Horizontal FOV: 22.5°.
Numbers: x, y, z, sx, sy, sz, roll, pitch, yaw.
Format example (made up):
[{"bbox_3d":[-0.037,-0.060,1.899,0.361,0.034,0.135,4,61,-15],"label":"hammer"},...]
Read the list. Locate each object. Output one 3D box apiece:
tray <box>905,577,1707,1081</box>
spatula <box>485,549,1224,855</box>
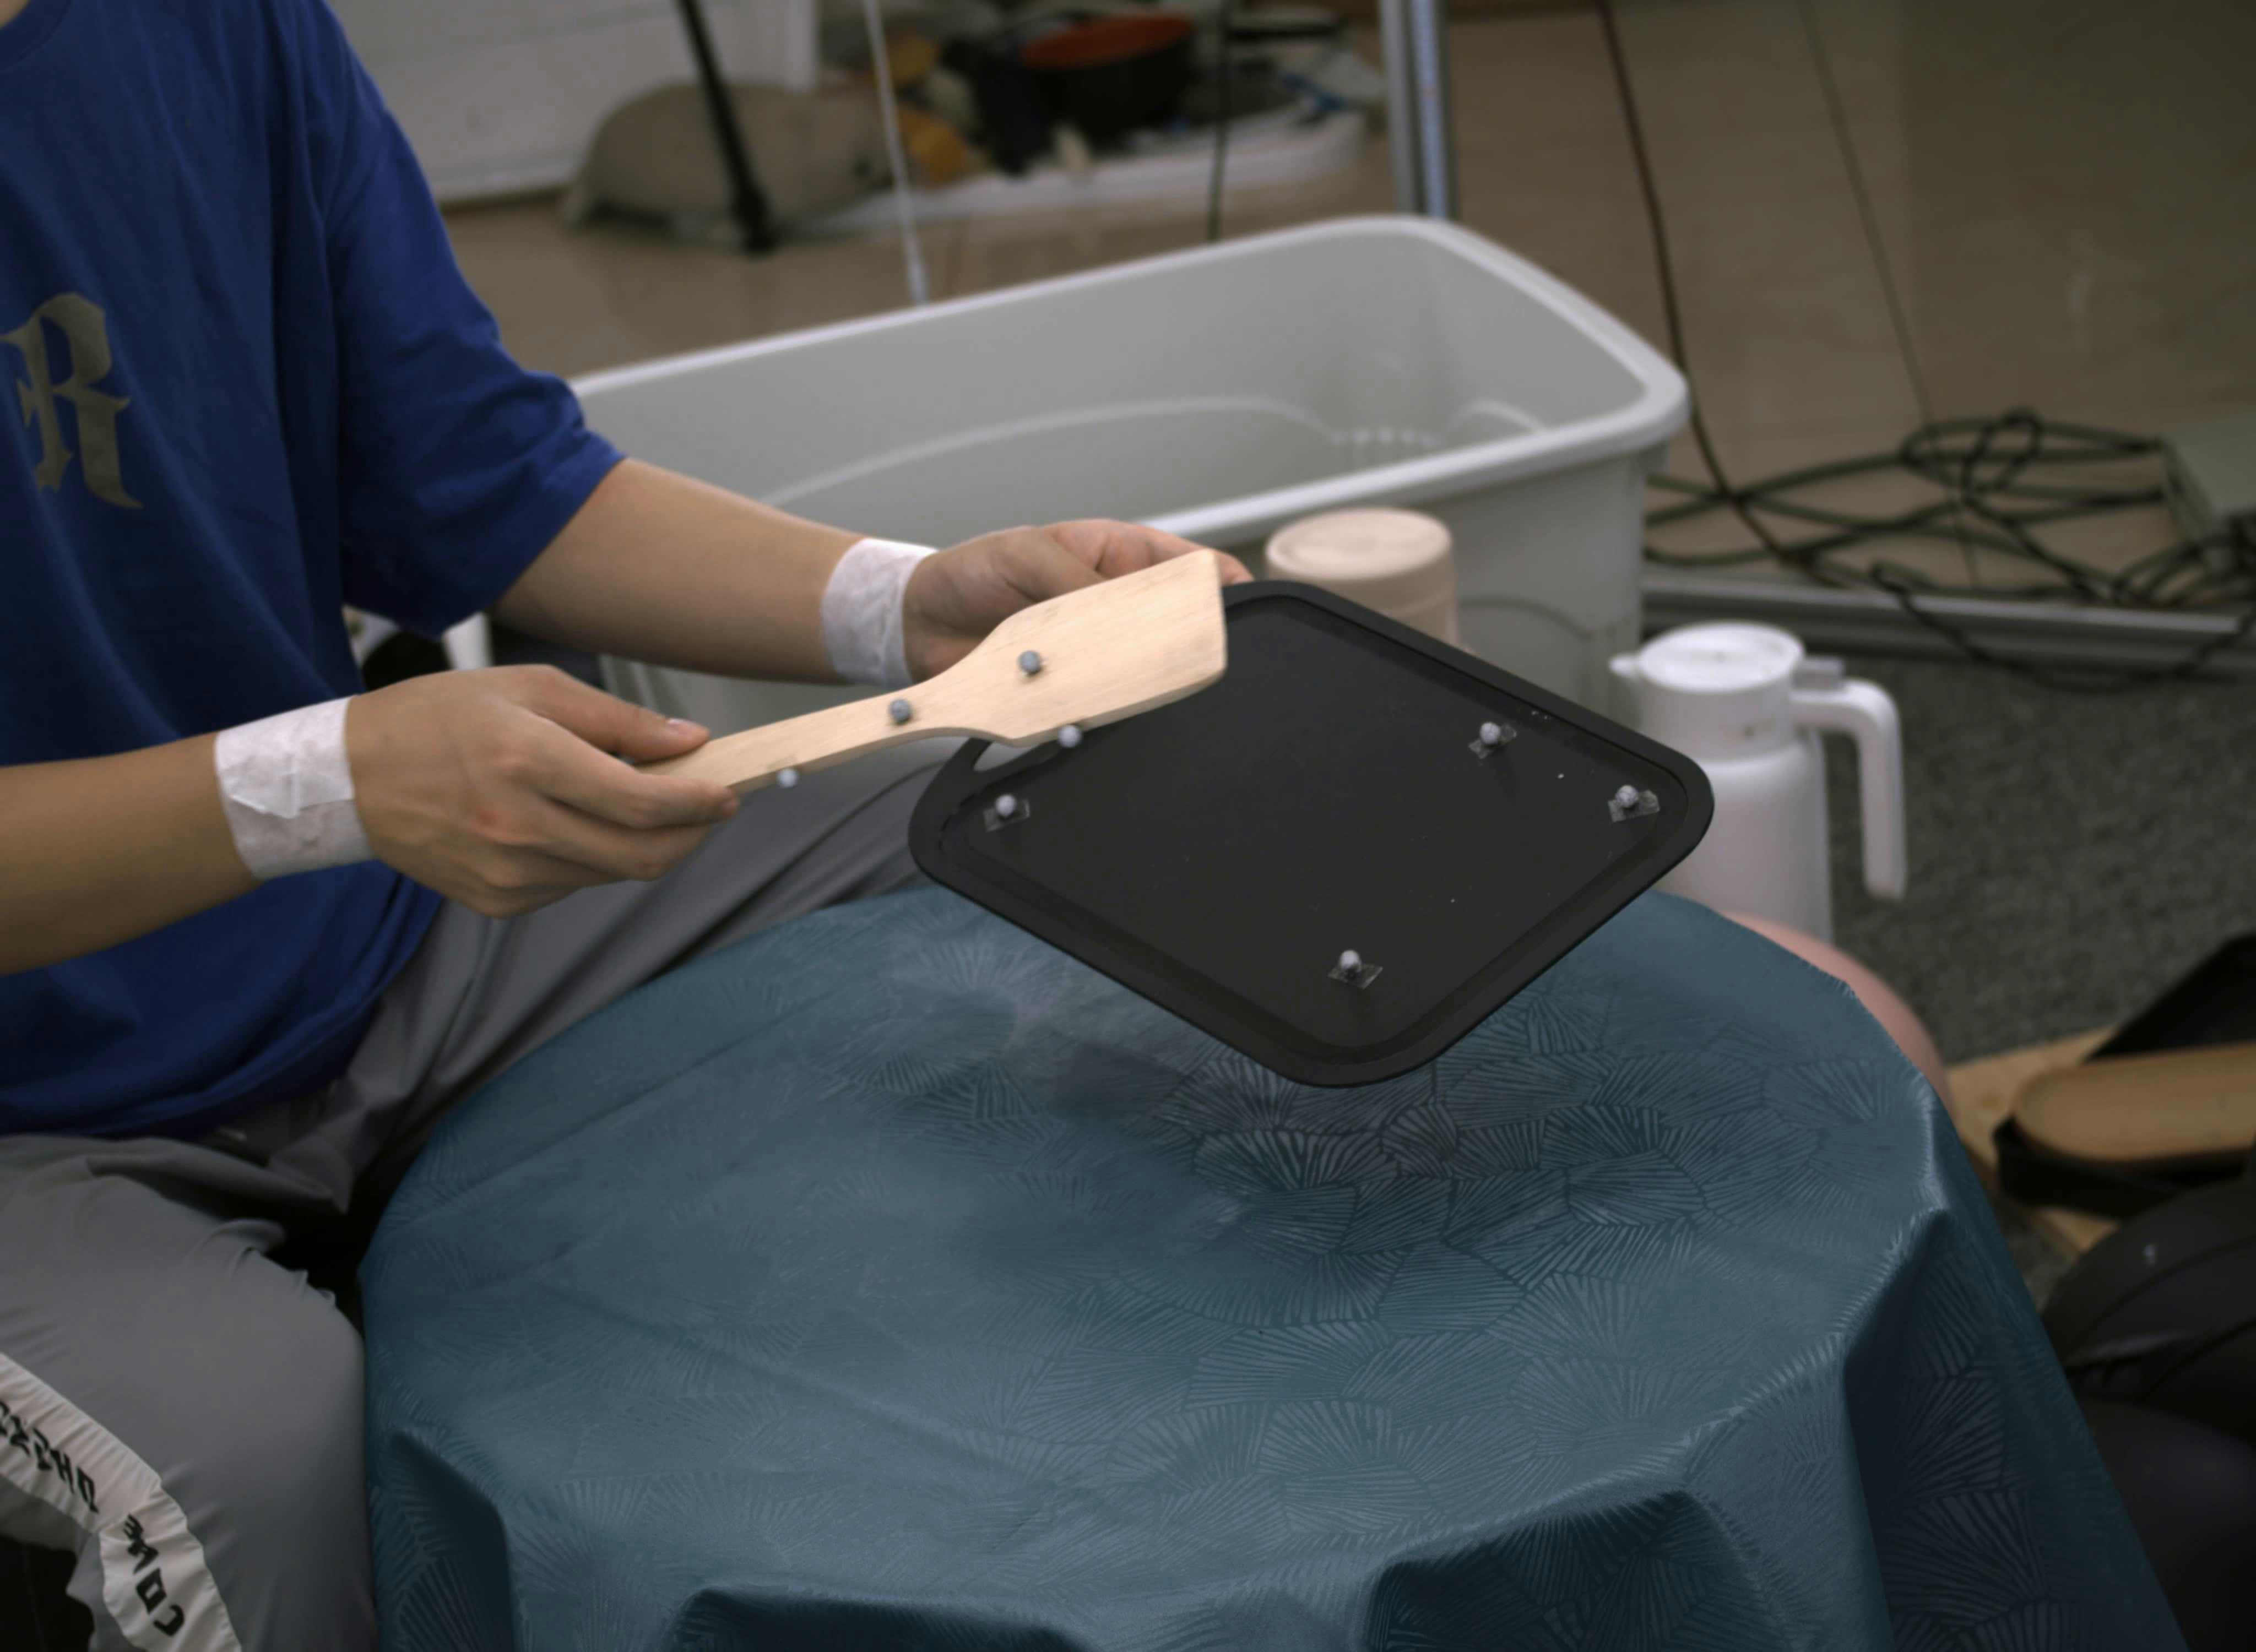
[{"bbox_3d":[0.058,-0.007,2.183,0.209,0.010,0.322,-37,39,-21],"label":"tray"},{"bbox_3d":[-0.103,-0.037,2.091,0.293,0.011,0.071,-16,45,11],"label":"spatula"}]
